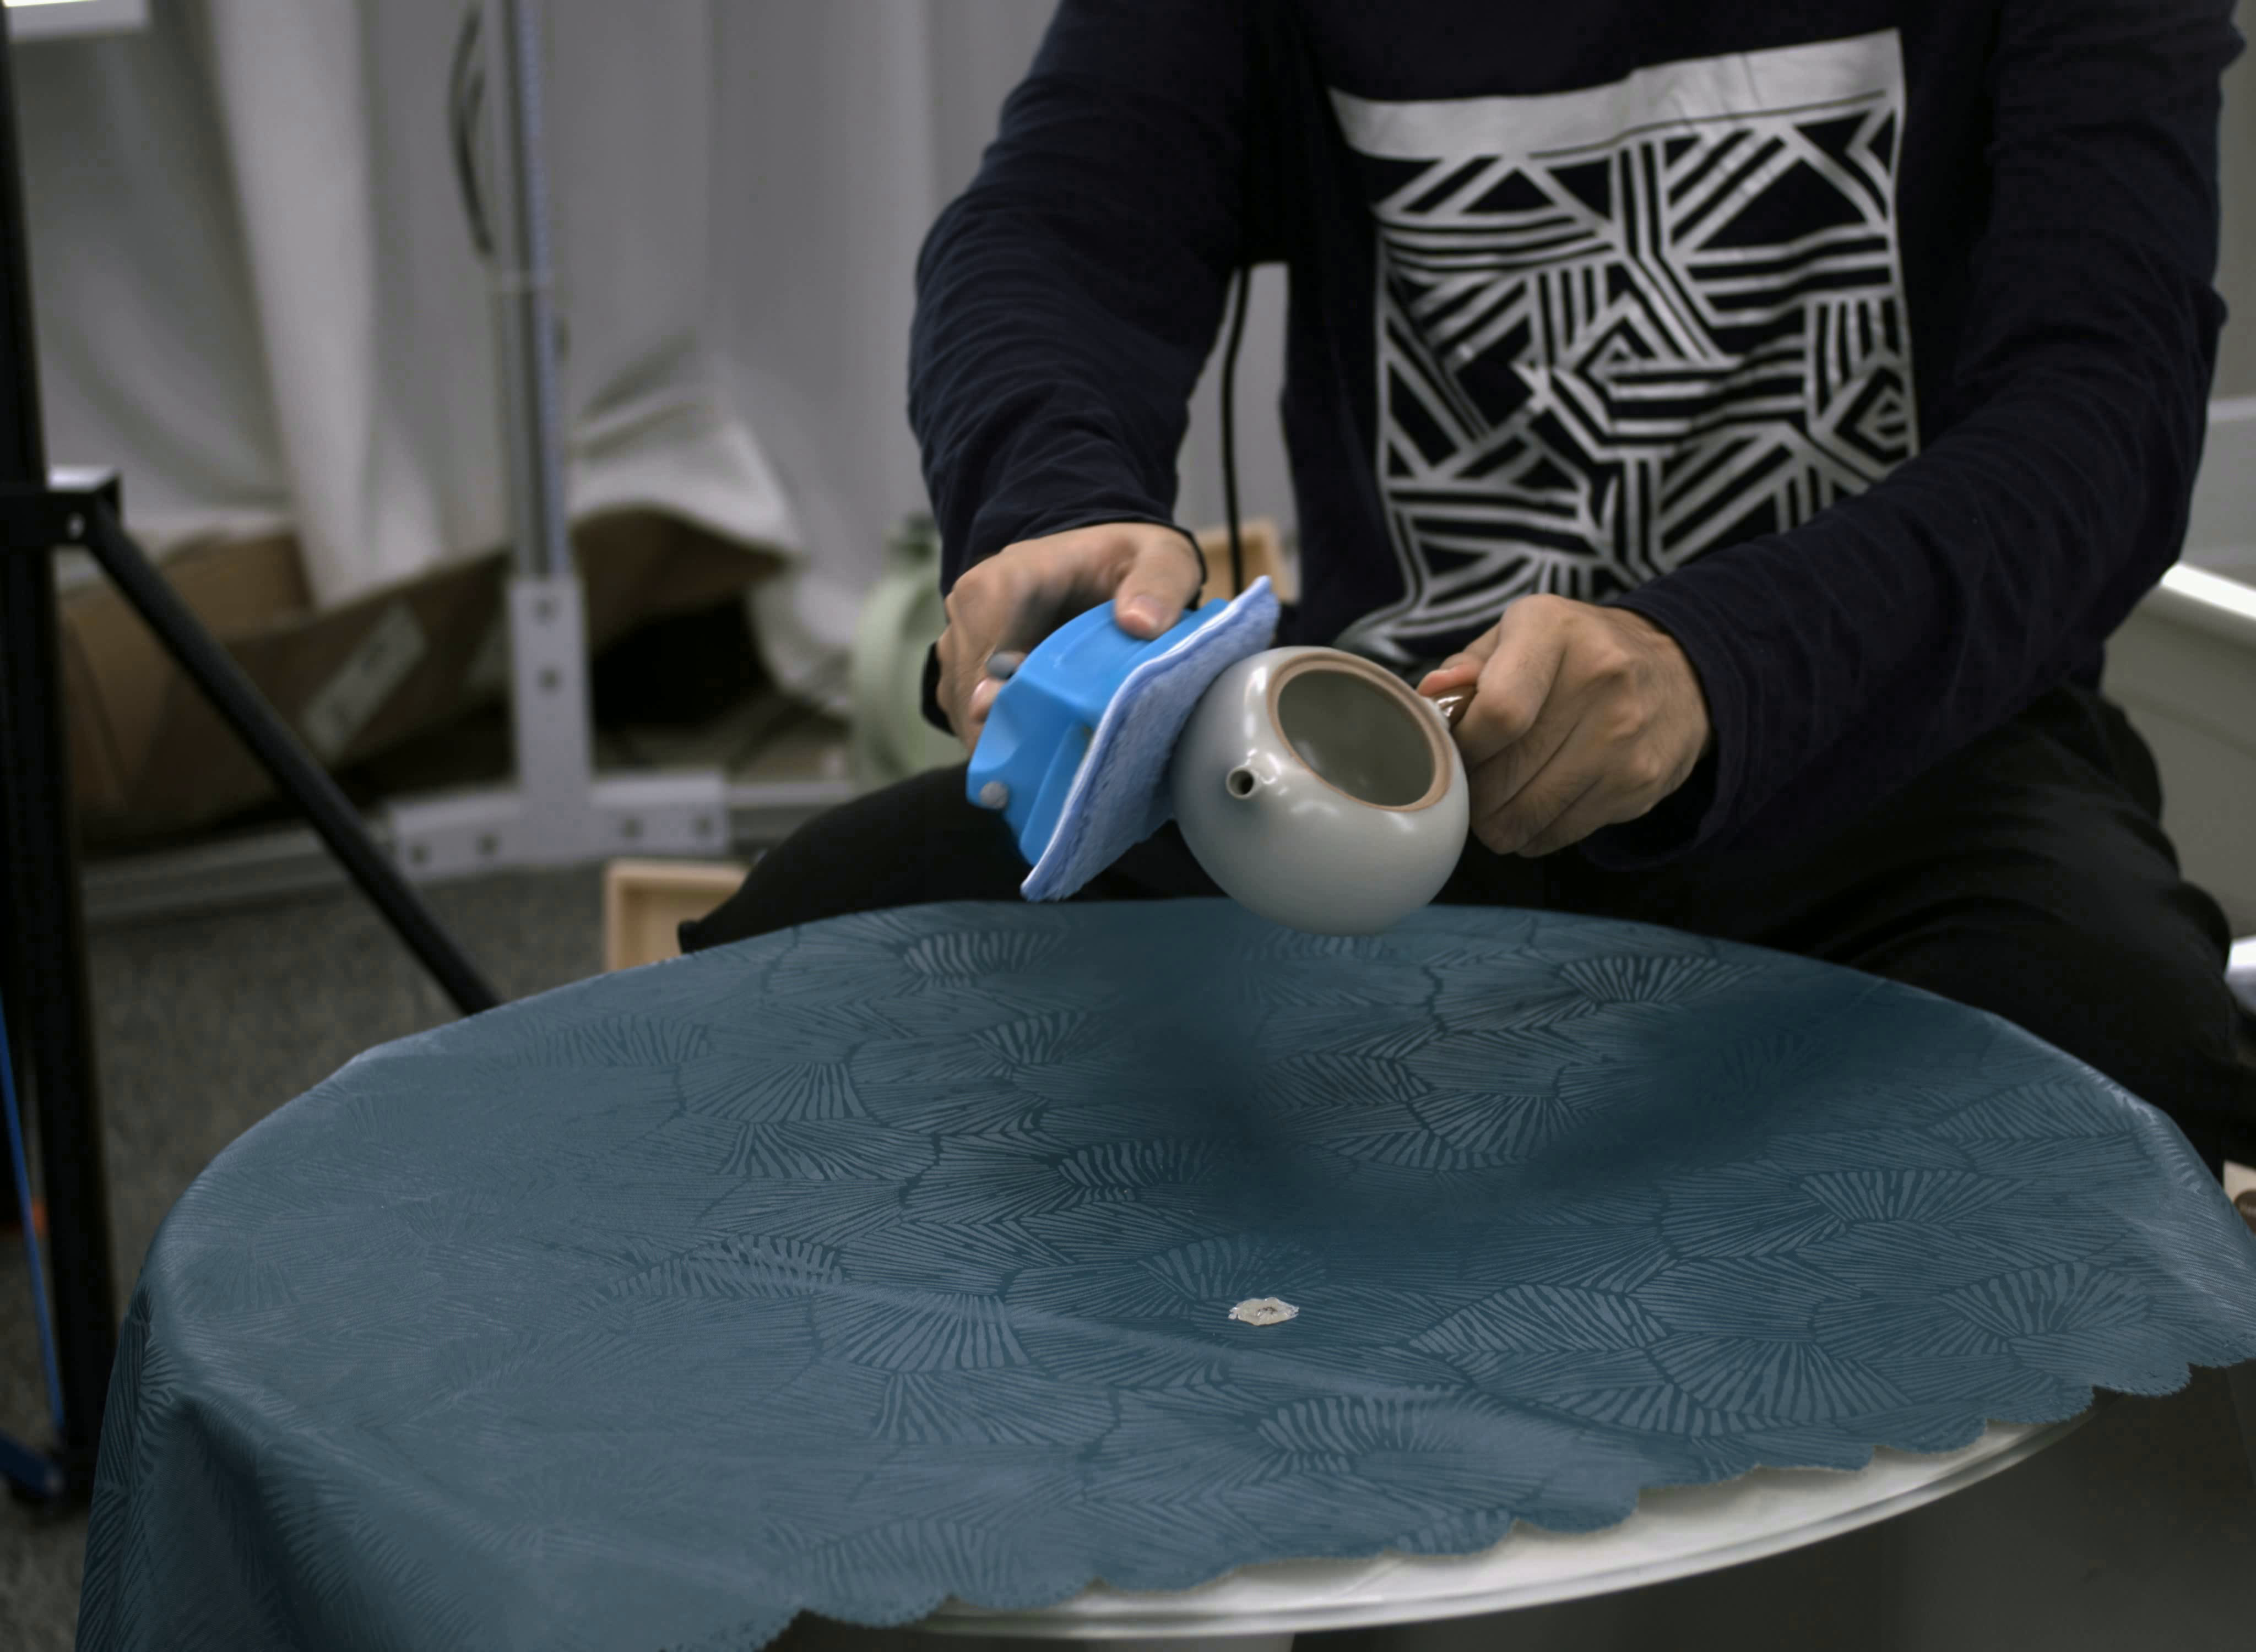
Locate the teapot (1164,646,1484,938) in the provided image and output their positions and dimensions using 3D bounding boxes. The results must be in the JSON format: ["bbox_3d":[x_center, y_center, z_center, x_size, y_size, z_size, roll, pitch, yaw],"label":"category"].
[{"bbox_3d":[0.061,-0.012,1.566,0.125,0.060,0.093,-24,63,-44],"label":"teapot"}]

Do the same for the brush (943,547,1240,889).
[{"bbox_3d":[-0.016,-0.037,1.561,0.056,0.084,0.143,31,23,3],"label":"brush"}]
